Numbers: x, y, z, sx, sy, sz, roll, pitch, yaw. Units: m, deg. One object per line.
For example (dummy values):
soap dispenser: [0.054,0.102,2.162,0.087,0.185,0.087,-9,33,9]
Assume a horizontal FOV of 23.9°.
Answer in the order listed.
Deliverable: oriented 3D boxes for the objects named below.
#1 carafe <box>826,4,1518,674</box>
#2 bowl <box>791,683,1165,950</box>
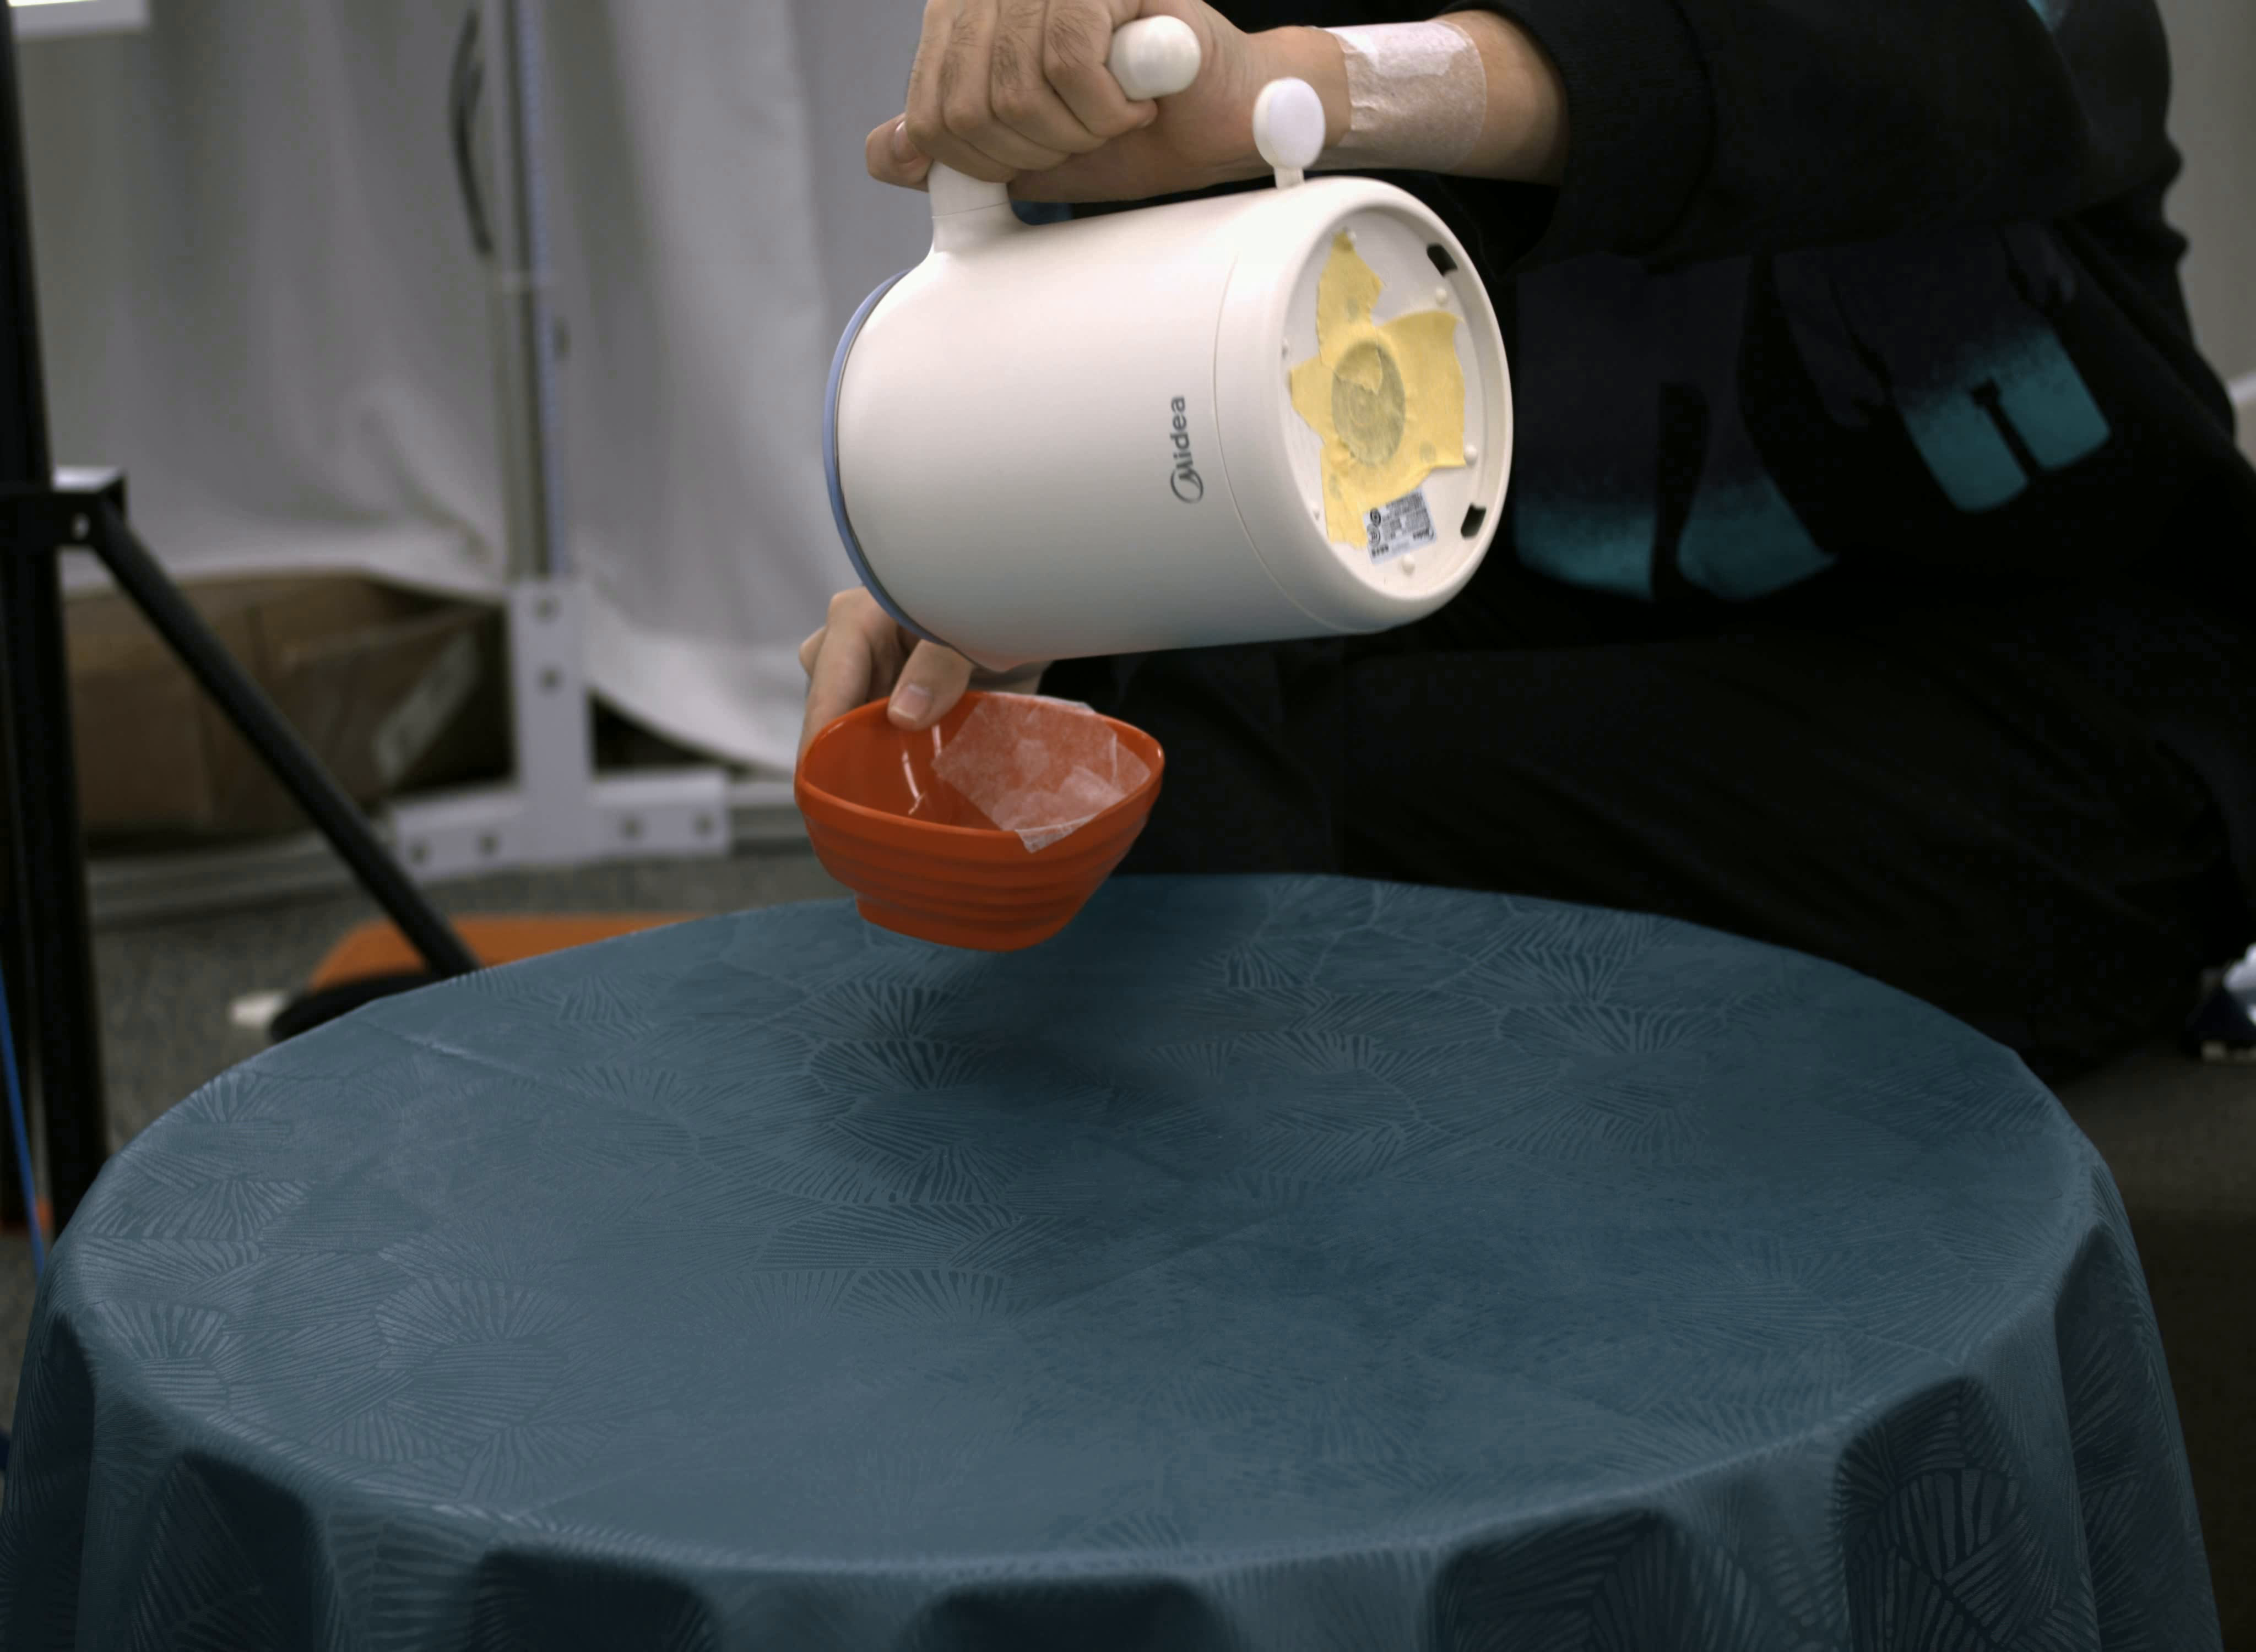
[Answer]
carafe: [0.009,-0.142,1.574,0.186,0.191,0.129,-2,9,38]
bowl: [-0.046,0.000,1.666,0.118,0.051,0.120,-2,24,-1]
